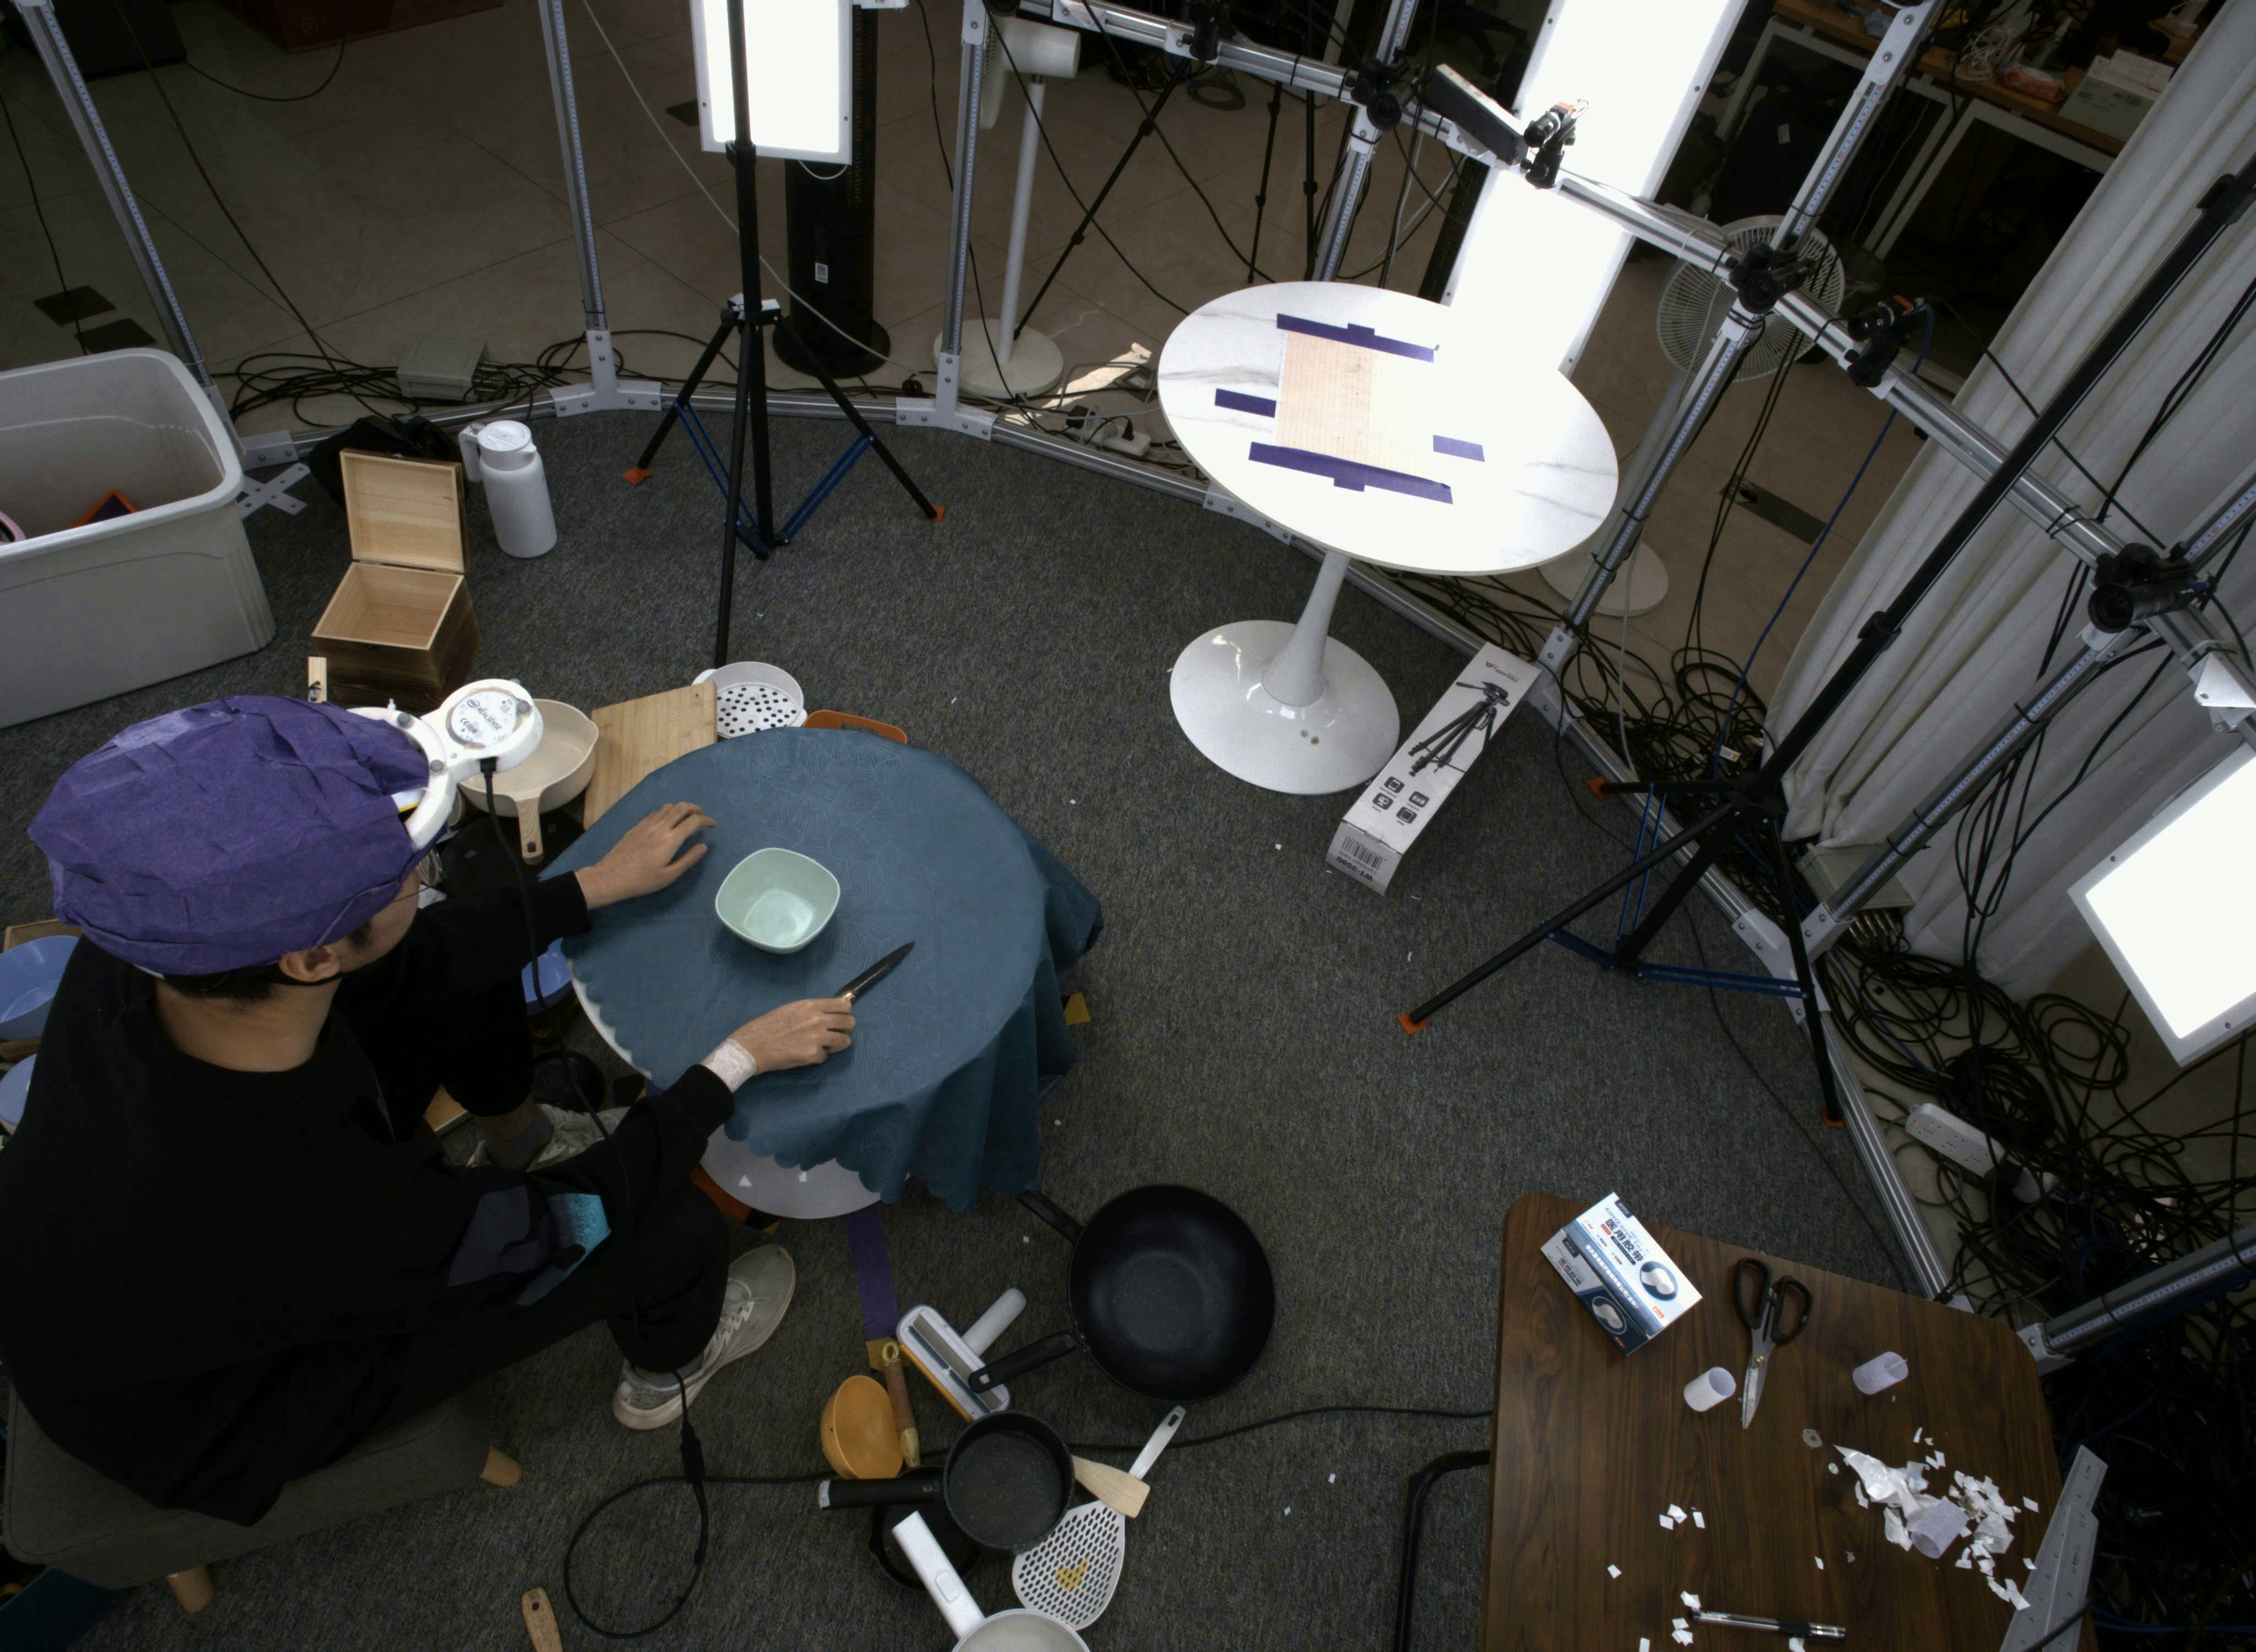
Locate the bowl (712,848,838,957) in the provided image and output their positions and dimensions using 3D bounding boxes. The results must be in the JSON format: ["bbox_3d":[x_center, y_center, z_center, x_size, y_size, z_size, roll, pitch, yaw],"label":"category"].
[{"bbox_3d":[-0.434,0.103,1.598,0.151,0.060,0.149,9,52,-10],"label":"bowl"}]

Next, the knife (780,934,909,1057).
[{"bbox_3d":[-0.339,0.200,1.579,0.025,0.018,0.225,29,50,23],"label":"knife"}]
